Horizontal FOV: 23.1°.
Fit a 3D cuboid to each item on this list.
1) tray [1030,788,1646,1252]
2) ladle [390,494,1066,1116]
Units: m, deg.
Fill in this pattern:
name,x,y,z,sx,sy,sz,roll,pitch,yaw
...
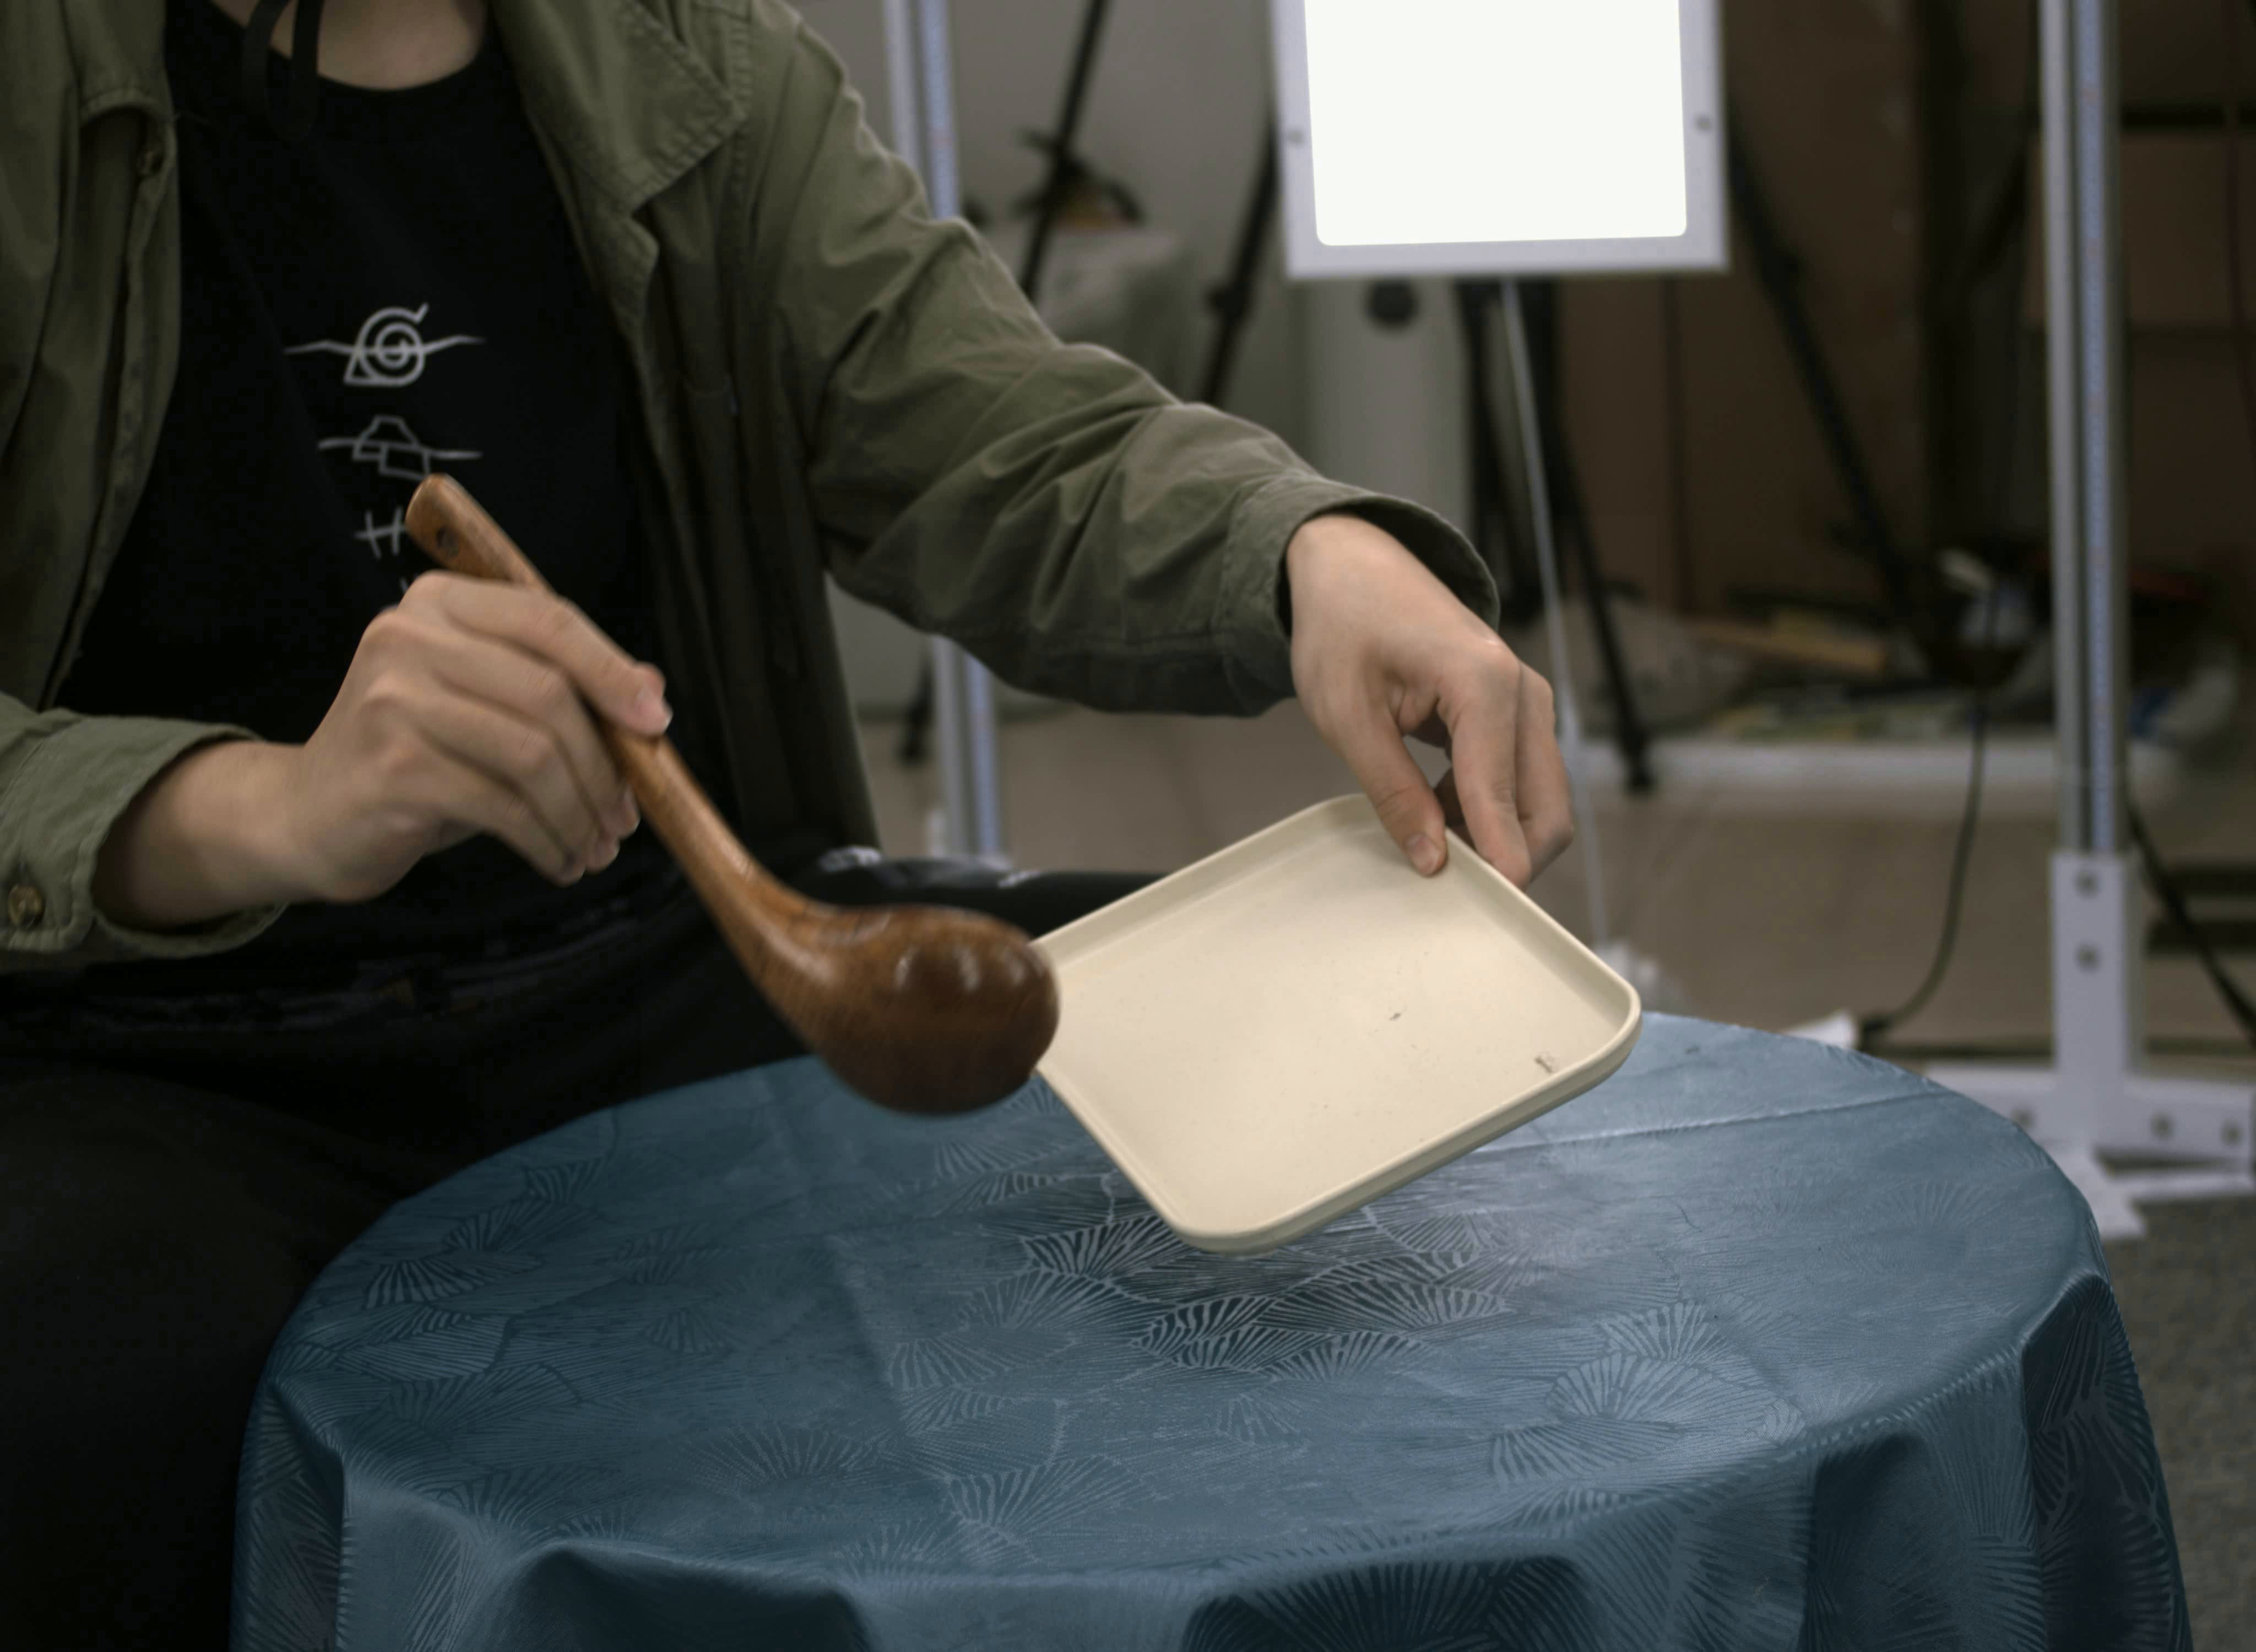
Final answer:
name,x,y,z,sx,sy,sz,roll,pitch,yaw
tray,0.059,0.062,1.817,0.170,0.017,0.242,-27,27,-9
ladle,-0.123,-0.017,1.715,0.074,0.083,0.277,-14,53,-43
